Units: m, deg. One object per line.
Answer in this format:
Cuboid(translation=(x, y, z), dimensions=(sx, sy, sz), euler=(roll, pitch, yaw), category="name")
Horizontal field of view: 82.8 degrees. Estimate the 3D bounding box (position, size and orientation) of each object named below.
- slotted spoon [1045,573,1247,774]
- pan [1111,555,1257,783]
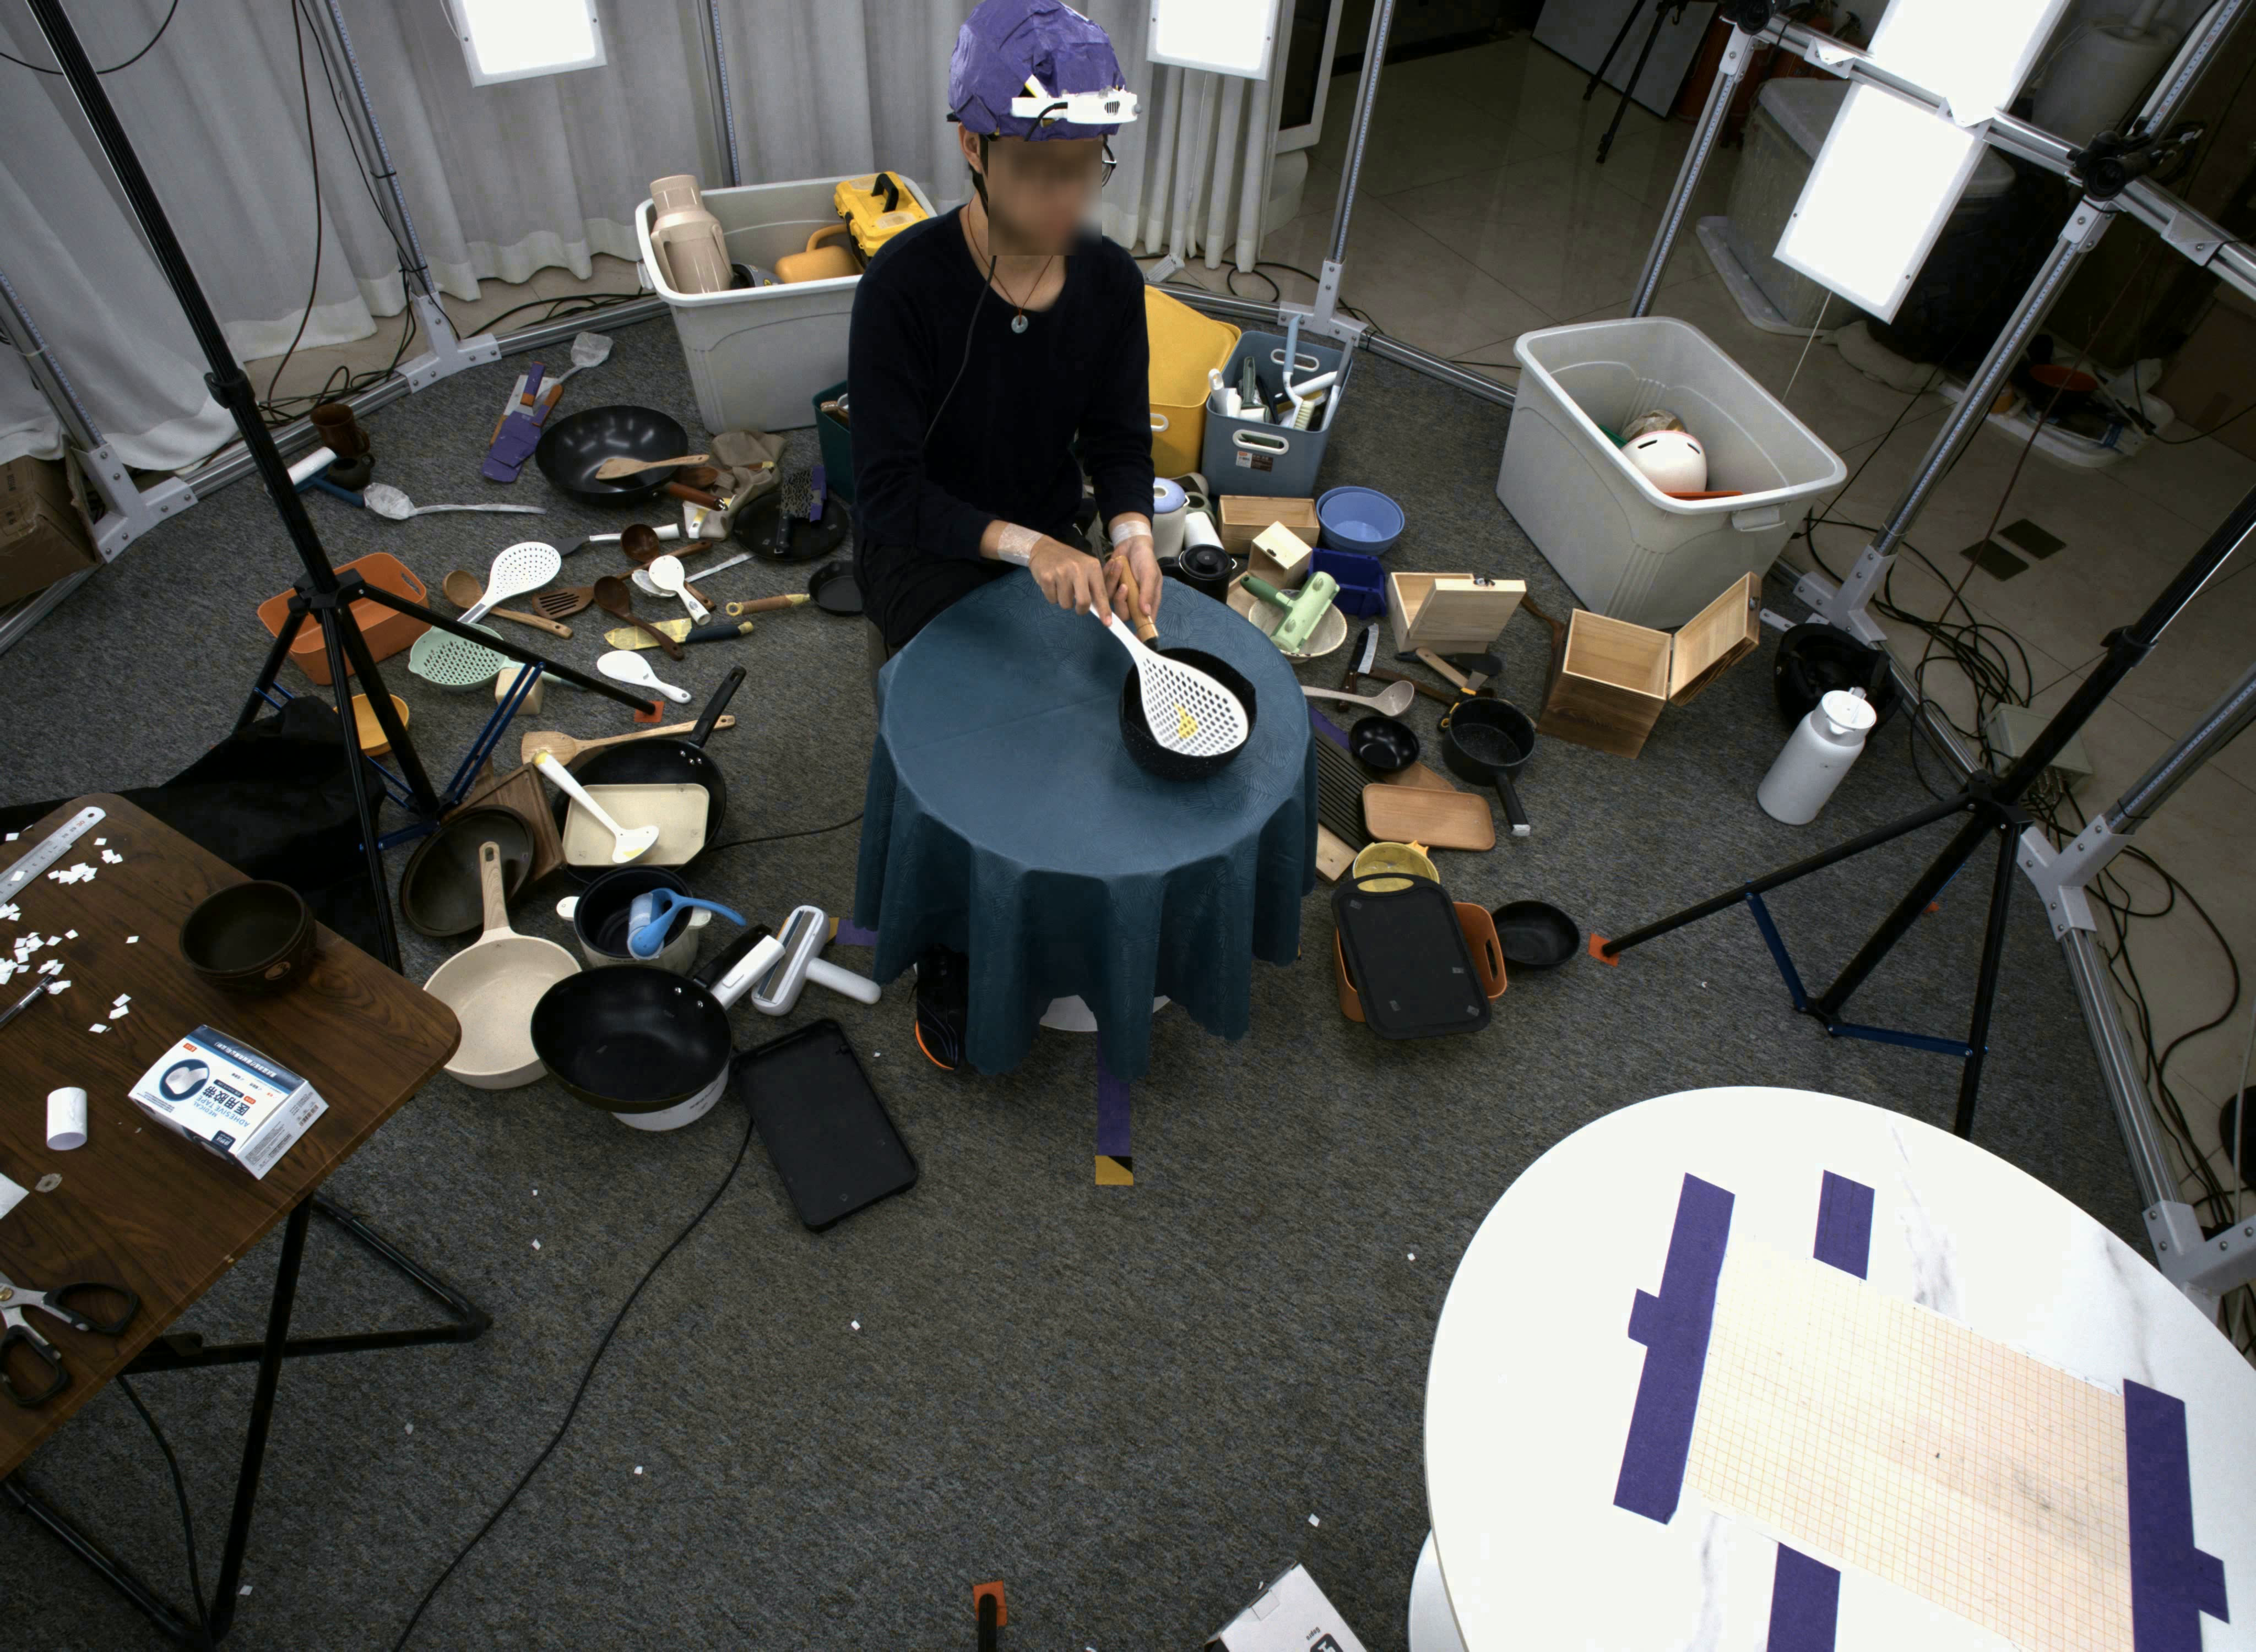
Cuboid(translation=(0.017, -0.216, 1.724), dimensions=(0.138, 0.050, 0.347), euler=(-42, 93, -23), category="slotted spoon")
Cuboid(translation=(0.043, -0.214, 1.758), dimensions=(0.208, 0.106, 0.349), euler=(-16, 62, -21), category="pan")
